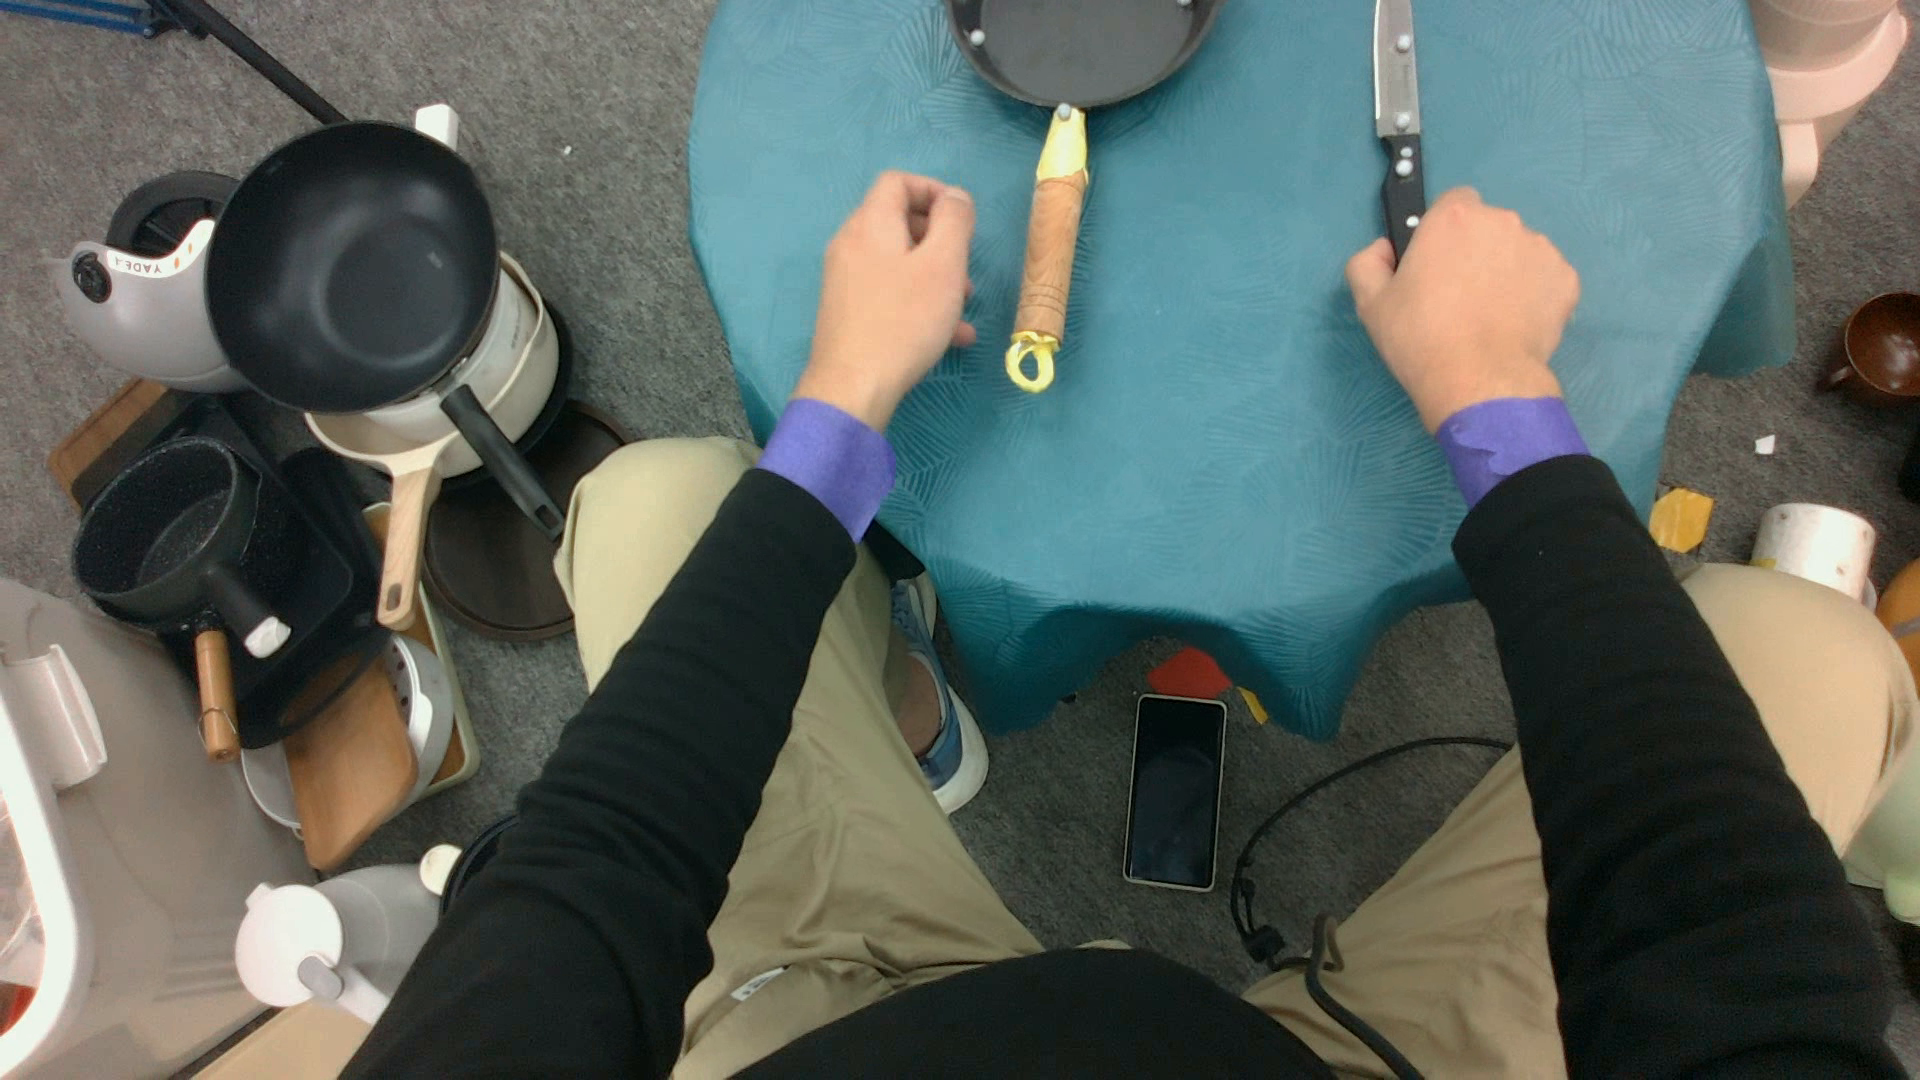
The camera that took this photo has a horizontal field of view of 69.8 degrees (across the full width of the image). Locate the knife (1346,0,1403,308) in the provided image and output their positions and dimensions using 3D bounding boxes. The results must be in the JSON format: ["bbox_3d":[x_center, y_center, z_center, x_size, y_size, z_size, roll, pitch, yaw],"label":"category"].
[{"bbox_3d":[0.227,-0.237,0.754,0.024,0.016,0.239,-4,72,18],"label":"knife"}]

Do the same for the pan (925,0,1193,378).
[{"bbox_3d":[0.046,-0.241,0.764,0.169,0.049,0.325,6,78,10],"label":"pan"}]
